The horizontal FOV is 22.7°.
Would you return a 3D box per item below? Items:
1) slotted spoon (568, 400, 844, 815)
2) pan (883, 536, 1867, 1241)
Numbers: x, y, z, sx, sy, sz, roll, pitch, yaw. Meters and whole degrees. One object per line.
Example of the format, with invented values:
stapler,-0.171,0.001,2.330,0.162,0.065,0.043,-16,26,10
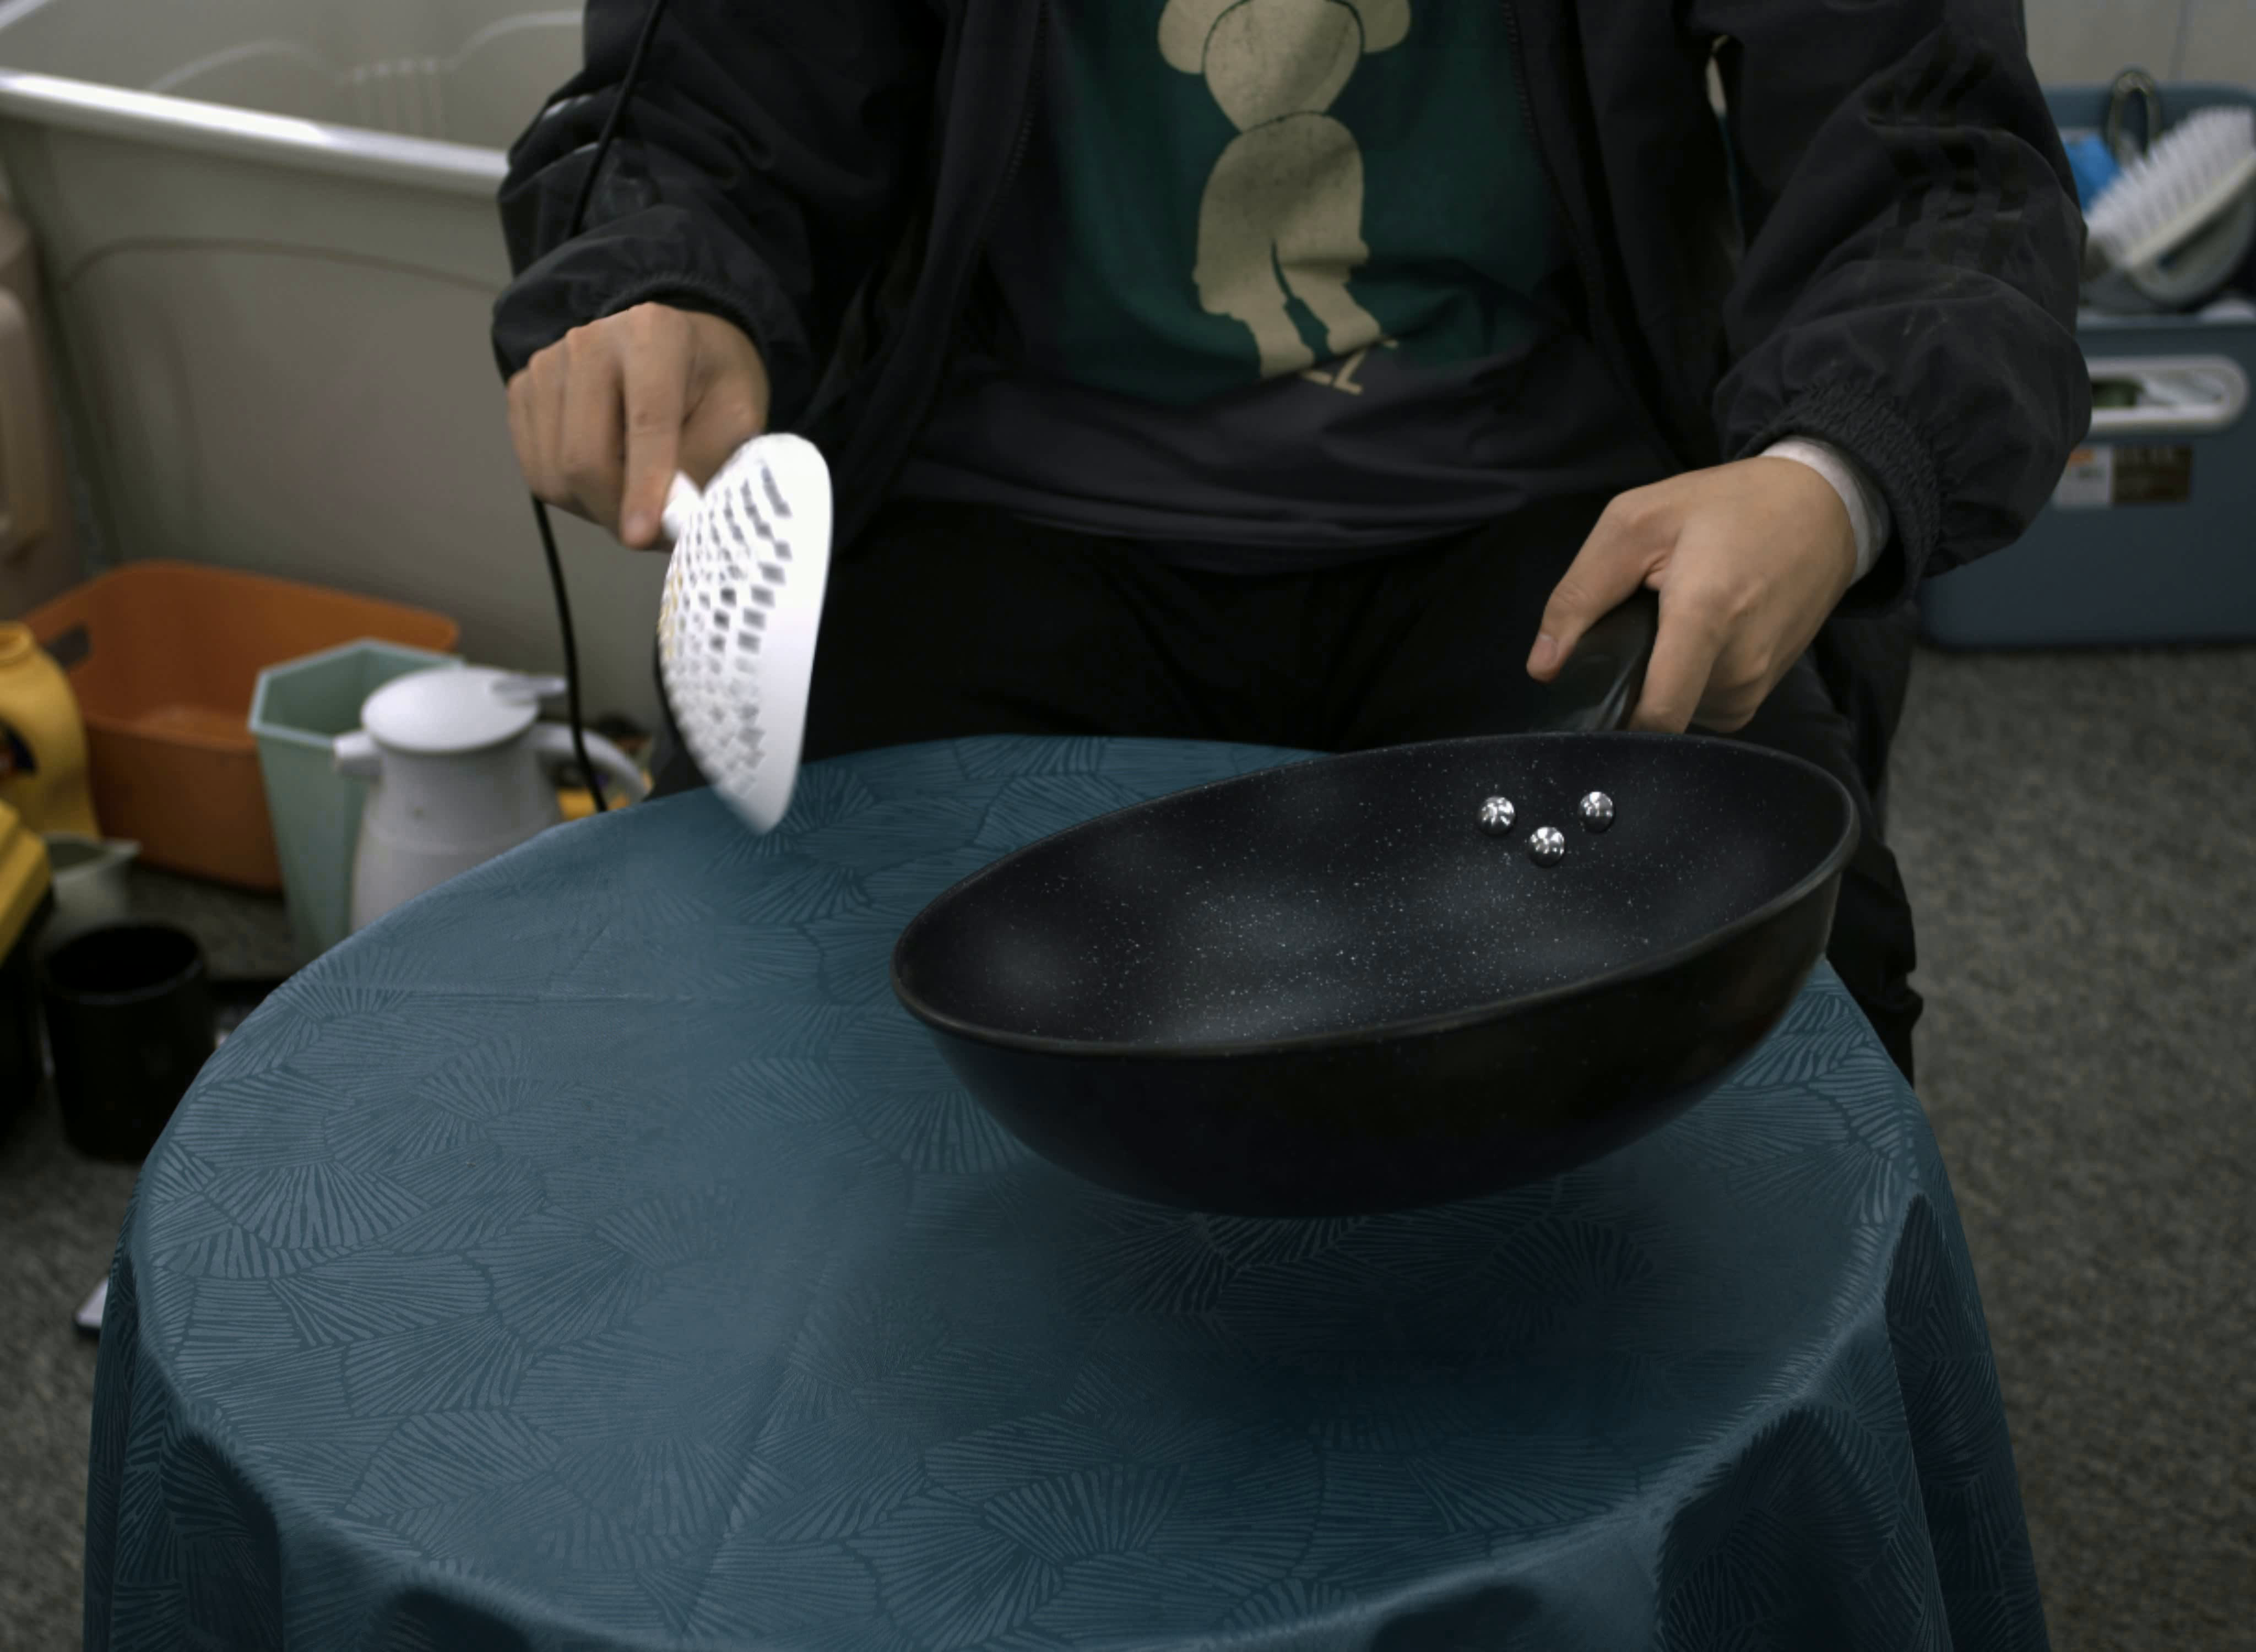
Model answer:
slotted spoon,-0.151,-0.100,1.972,0.050,0.136,0.349,0,14,-12
pan,0.115,0.023,1.838,0.307,0.111,0.483,-1,18,26
